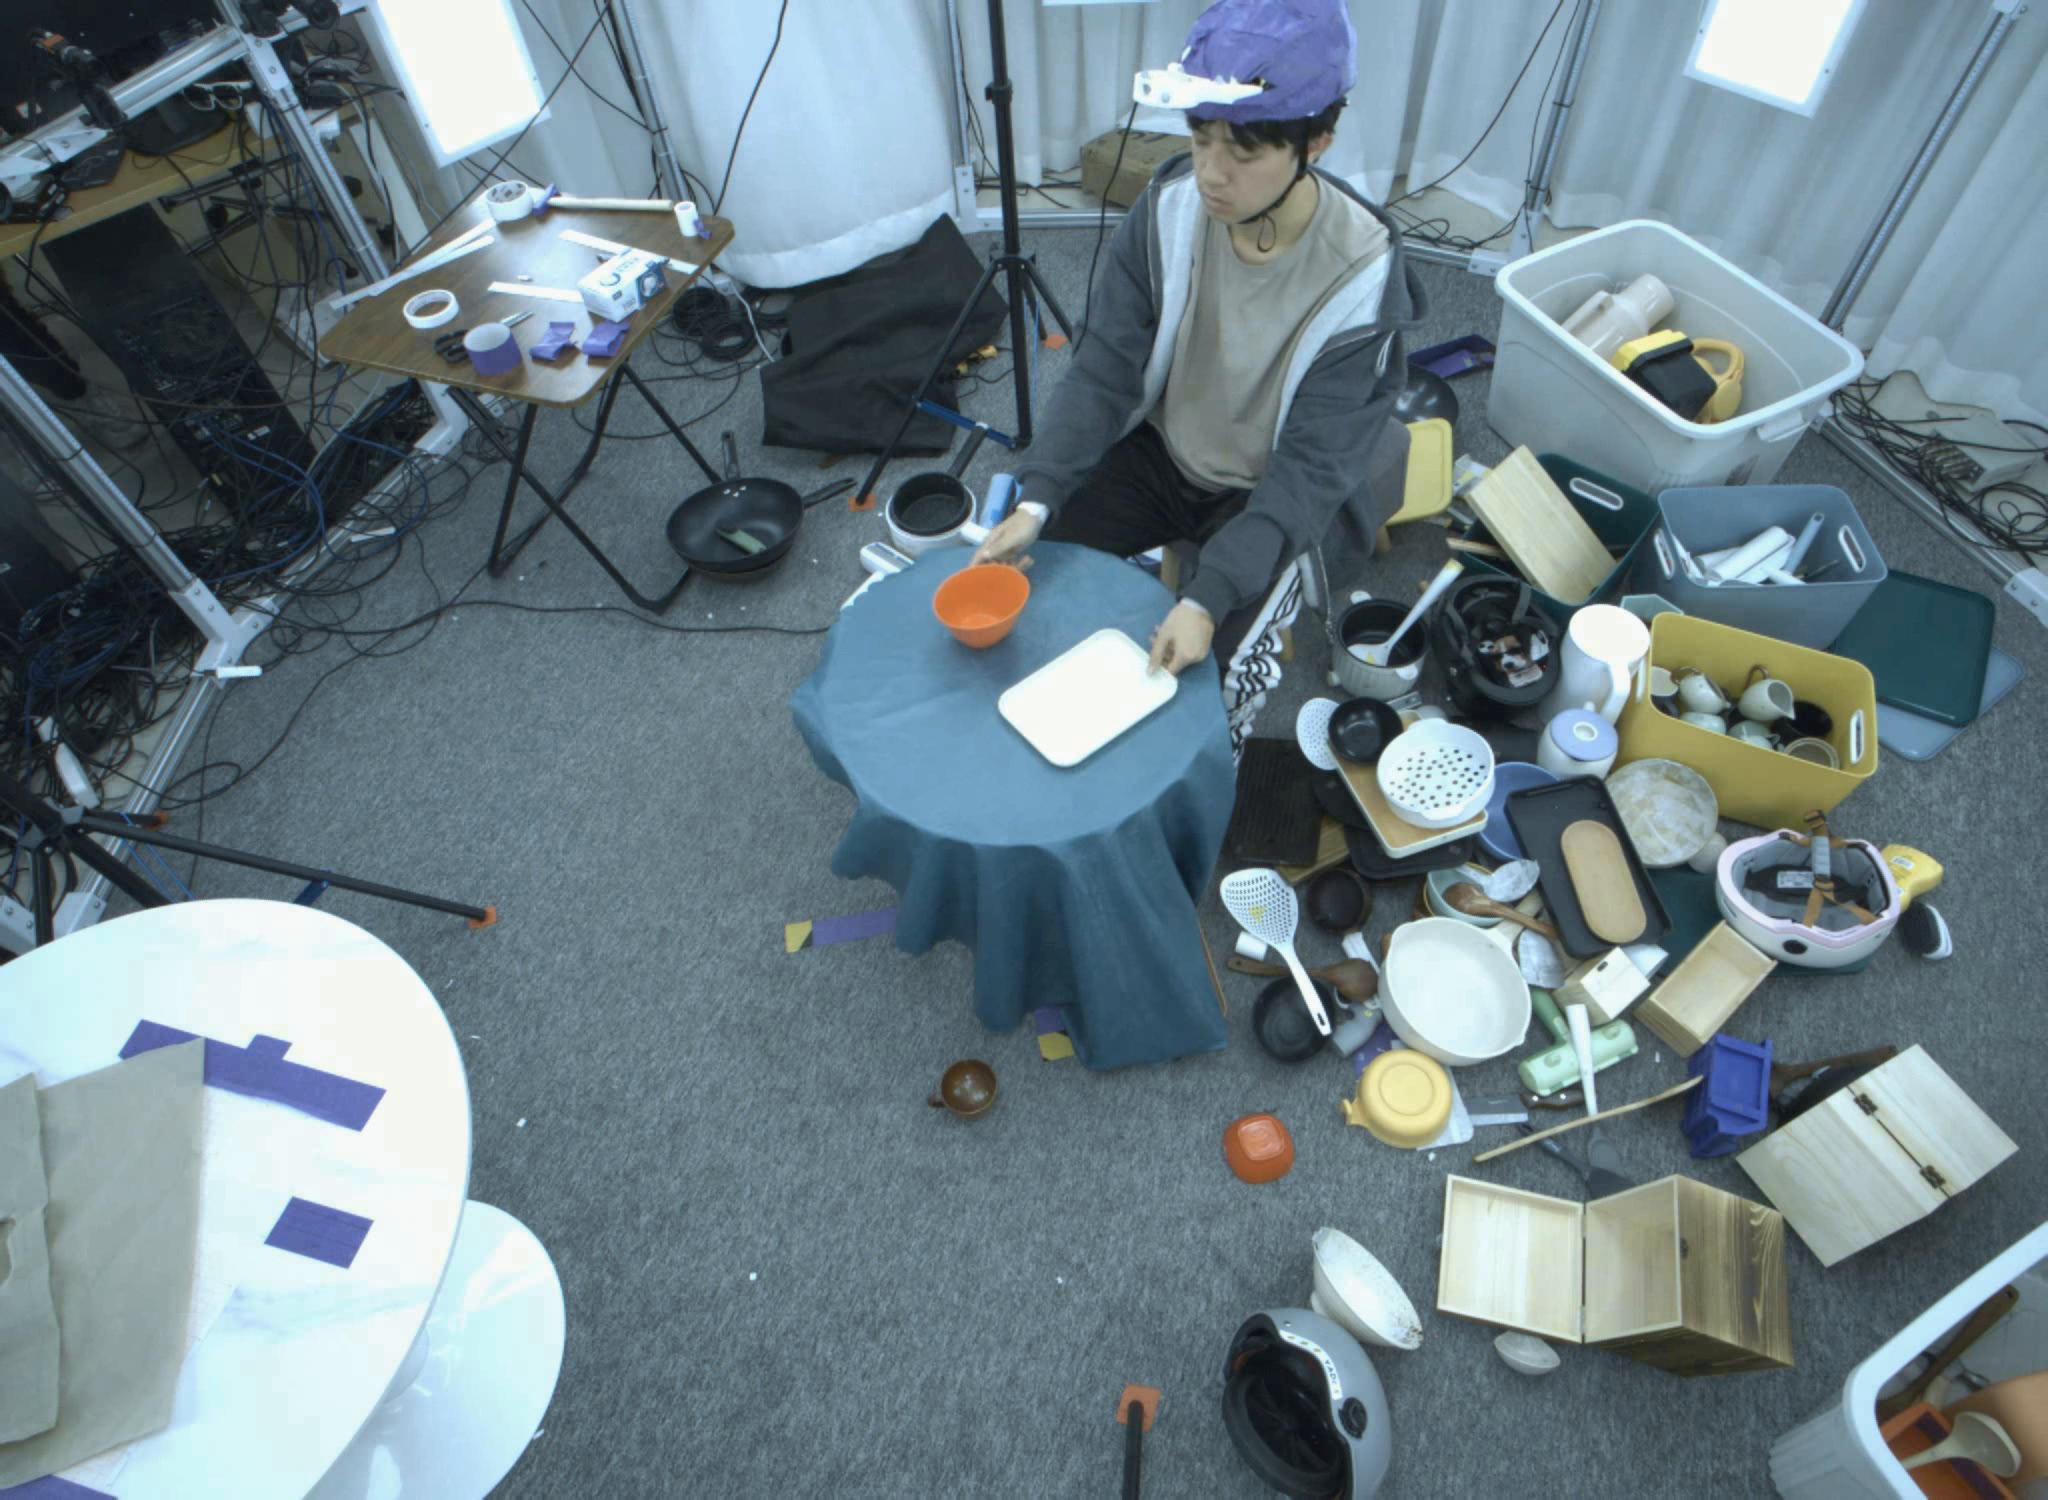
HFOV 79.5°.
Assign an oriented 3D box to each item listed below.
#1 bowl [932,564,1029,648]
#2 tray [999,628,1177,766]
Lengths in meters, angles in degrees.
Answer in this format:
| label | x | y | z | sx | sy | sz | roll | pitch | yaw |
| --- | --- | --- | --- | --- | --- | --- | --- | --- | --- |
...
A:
| label | x | y | z | sx | sy | sz | roll | pitch | yaw |
| --- | --- | --- | --- | --- | --- | --- | --- | --- | --- |
| bowl | -0.064 | -0.208 | 1.878 | 0.148 | 0.106 | 0.146 | -1 | 56 | 3 |
| tray | 0.095 | -0.080 | 1.833 | 0.241 | 0.017 | 0.168 | -34 | 60 | -20 |
